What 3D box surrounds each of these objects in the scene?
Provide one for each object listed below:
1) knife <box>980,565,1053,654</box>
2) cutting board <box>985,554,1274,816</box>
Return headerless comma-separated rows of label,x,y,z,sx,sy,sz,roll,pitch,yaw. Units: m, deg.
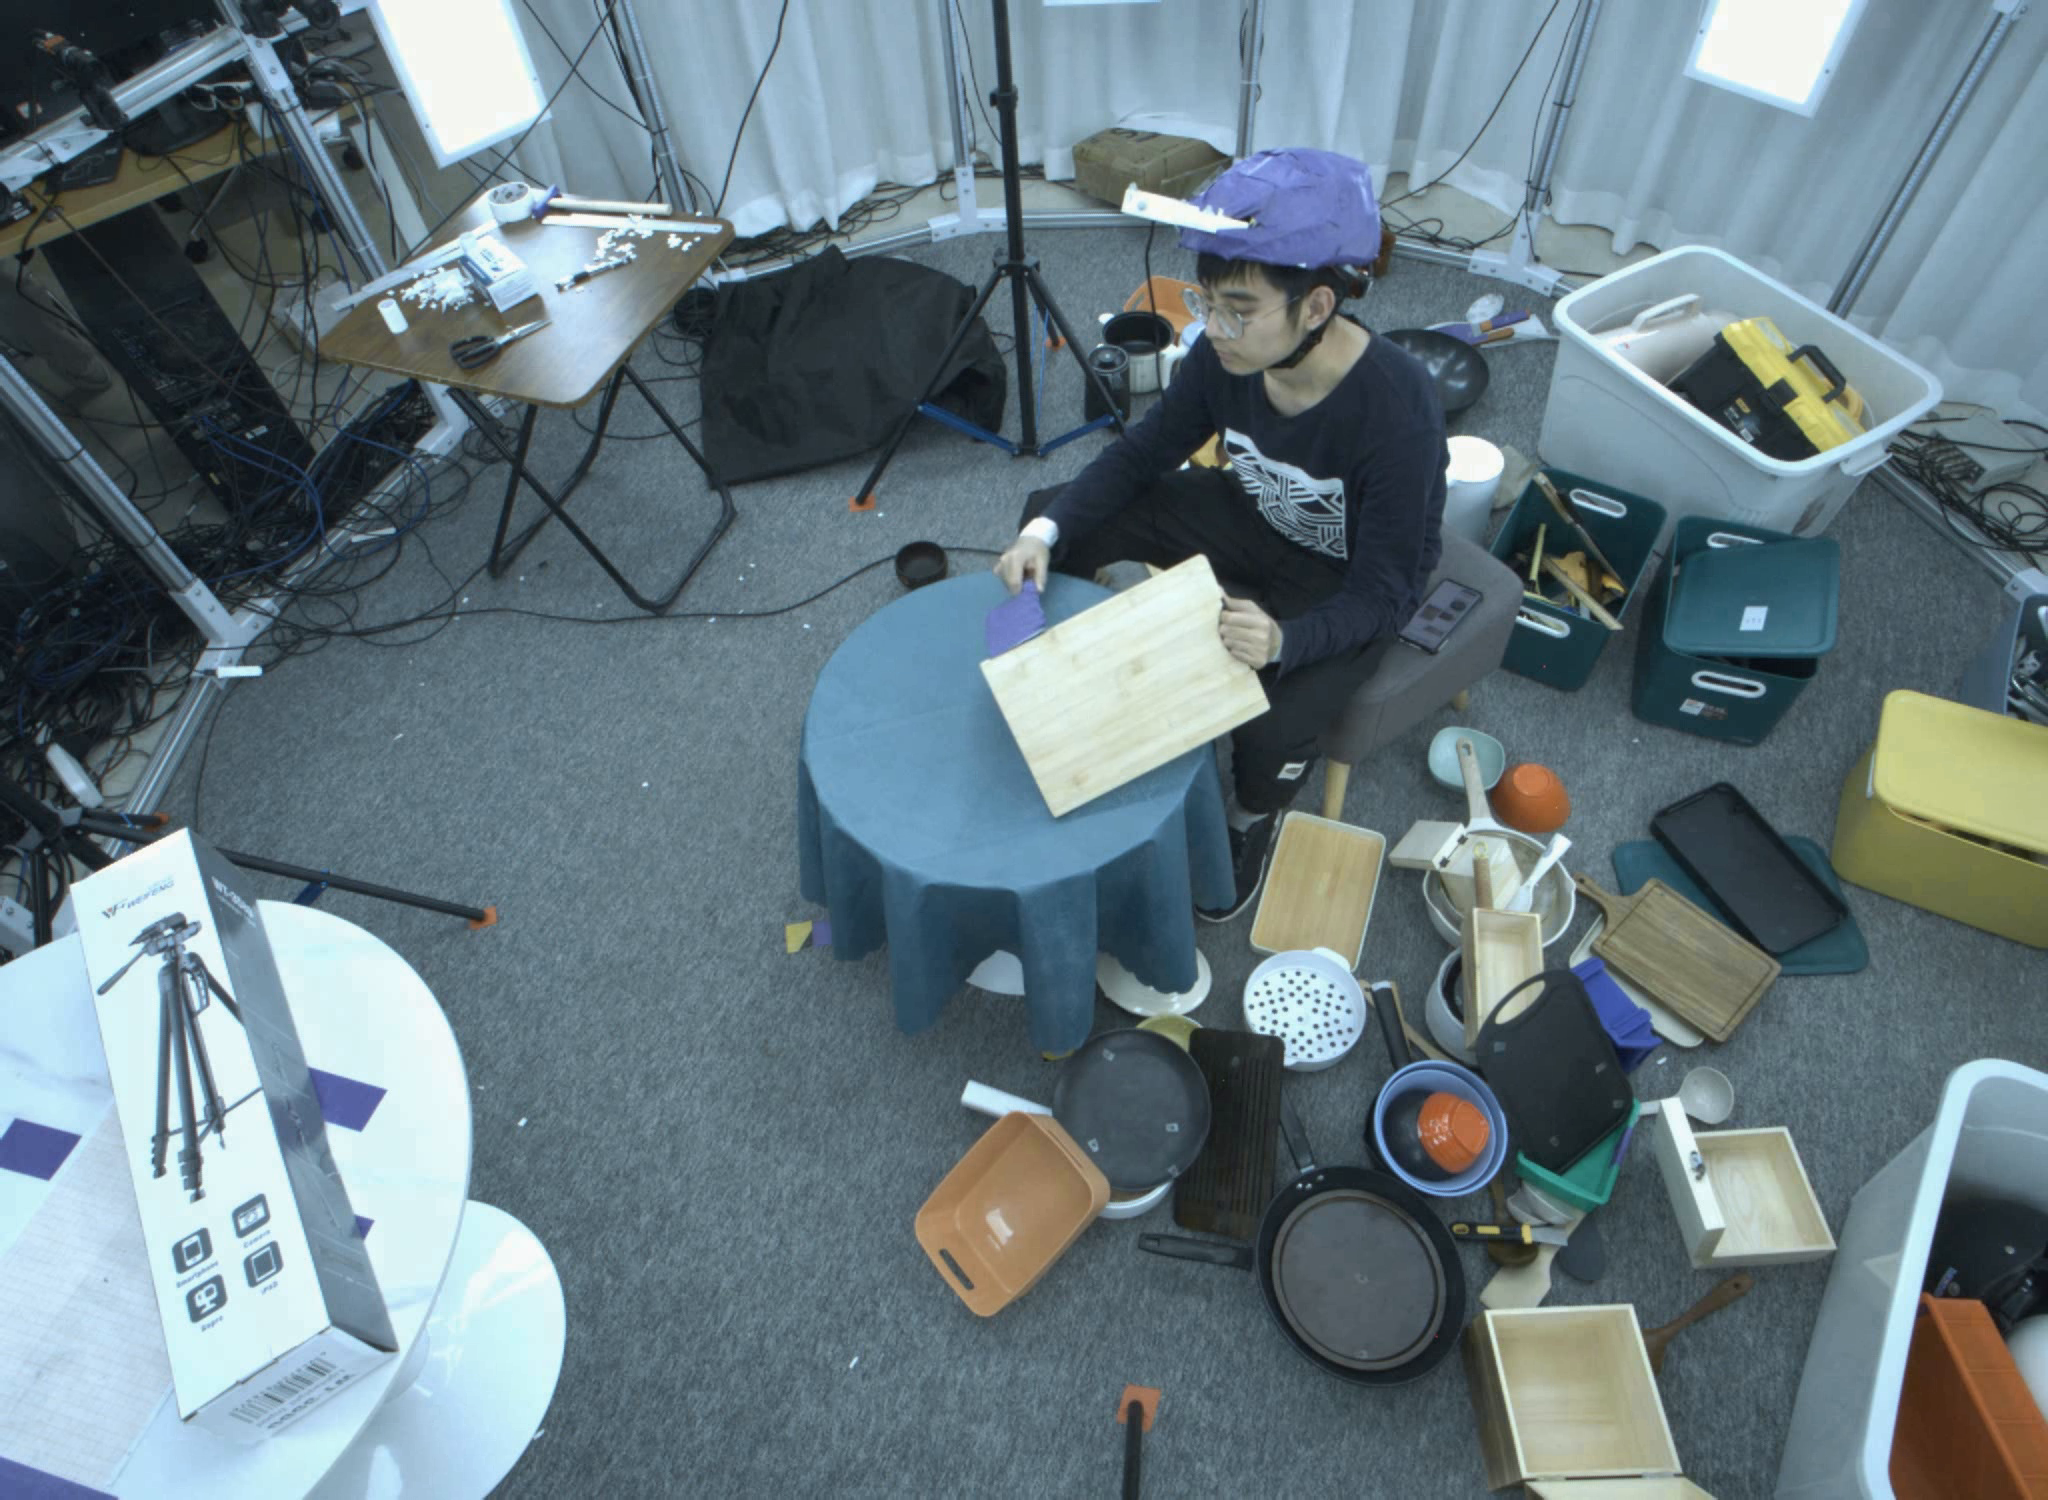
knife,-0.018,-0.207,1.780,0.103,0.032,0.312,-28,20,7
cutting board,0.147,-0.090,1.700,0.349,0.253,0.023,-27,17,-4
